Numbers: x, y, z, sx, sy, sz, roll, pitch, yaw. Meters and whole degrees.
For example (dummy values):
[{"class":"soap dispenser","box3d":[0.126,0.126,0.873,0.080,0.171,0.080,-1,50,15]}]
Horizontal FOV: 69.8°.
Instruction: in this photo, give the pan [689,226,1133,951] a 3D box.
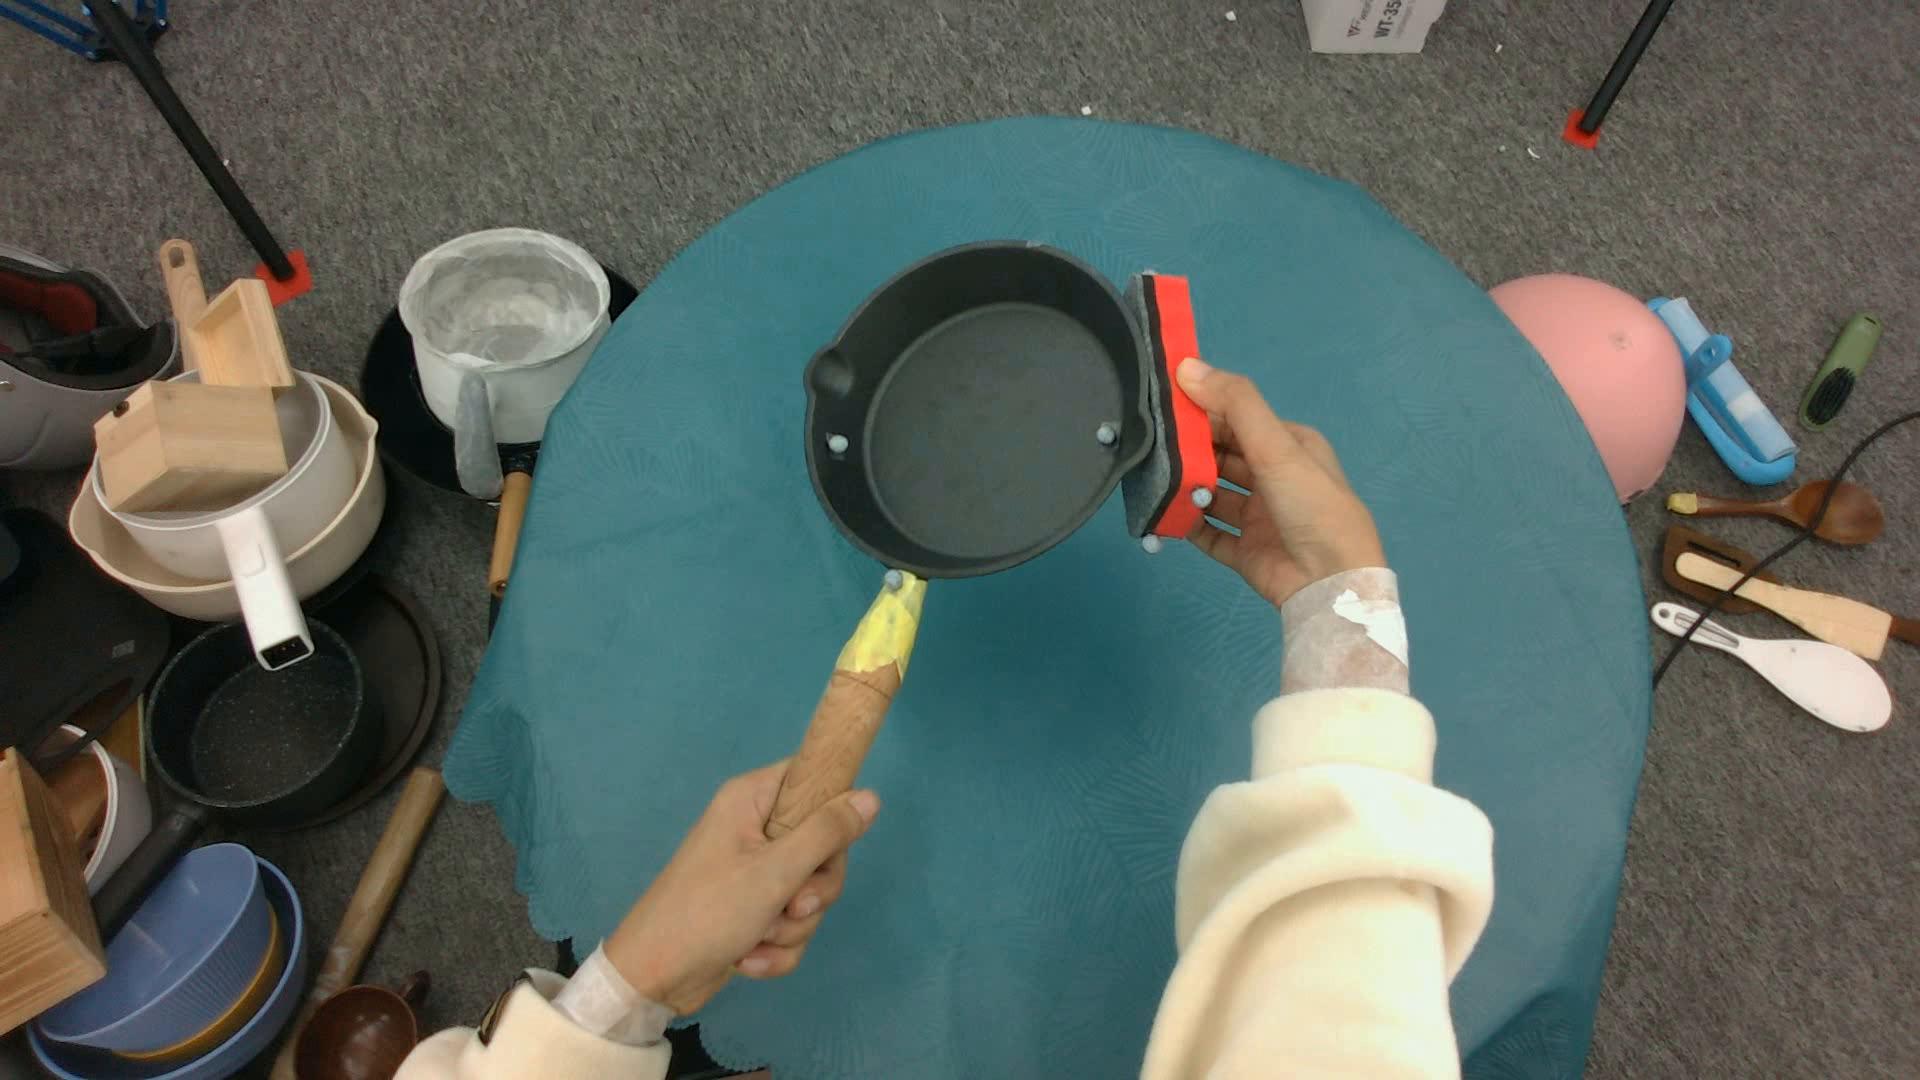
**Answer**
[{"class":"pan","box3d":[-0.034,0.013,0.579,0.169,0.049,0.325,16,76,24]}]

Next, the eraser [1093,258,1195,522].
[{"class":"eraser","box3d":[0.075,-0.065,0.595,0.023,0.058,0.108,2,62,-12]}]
